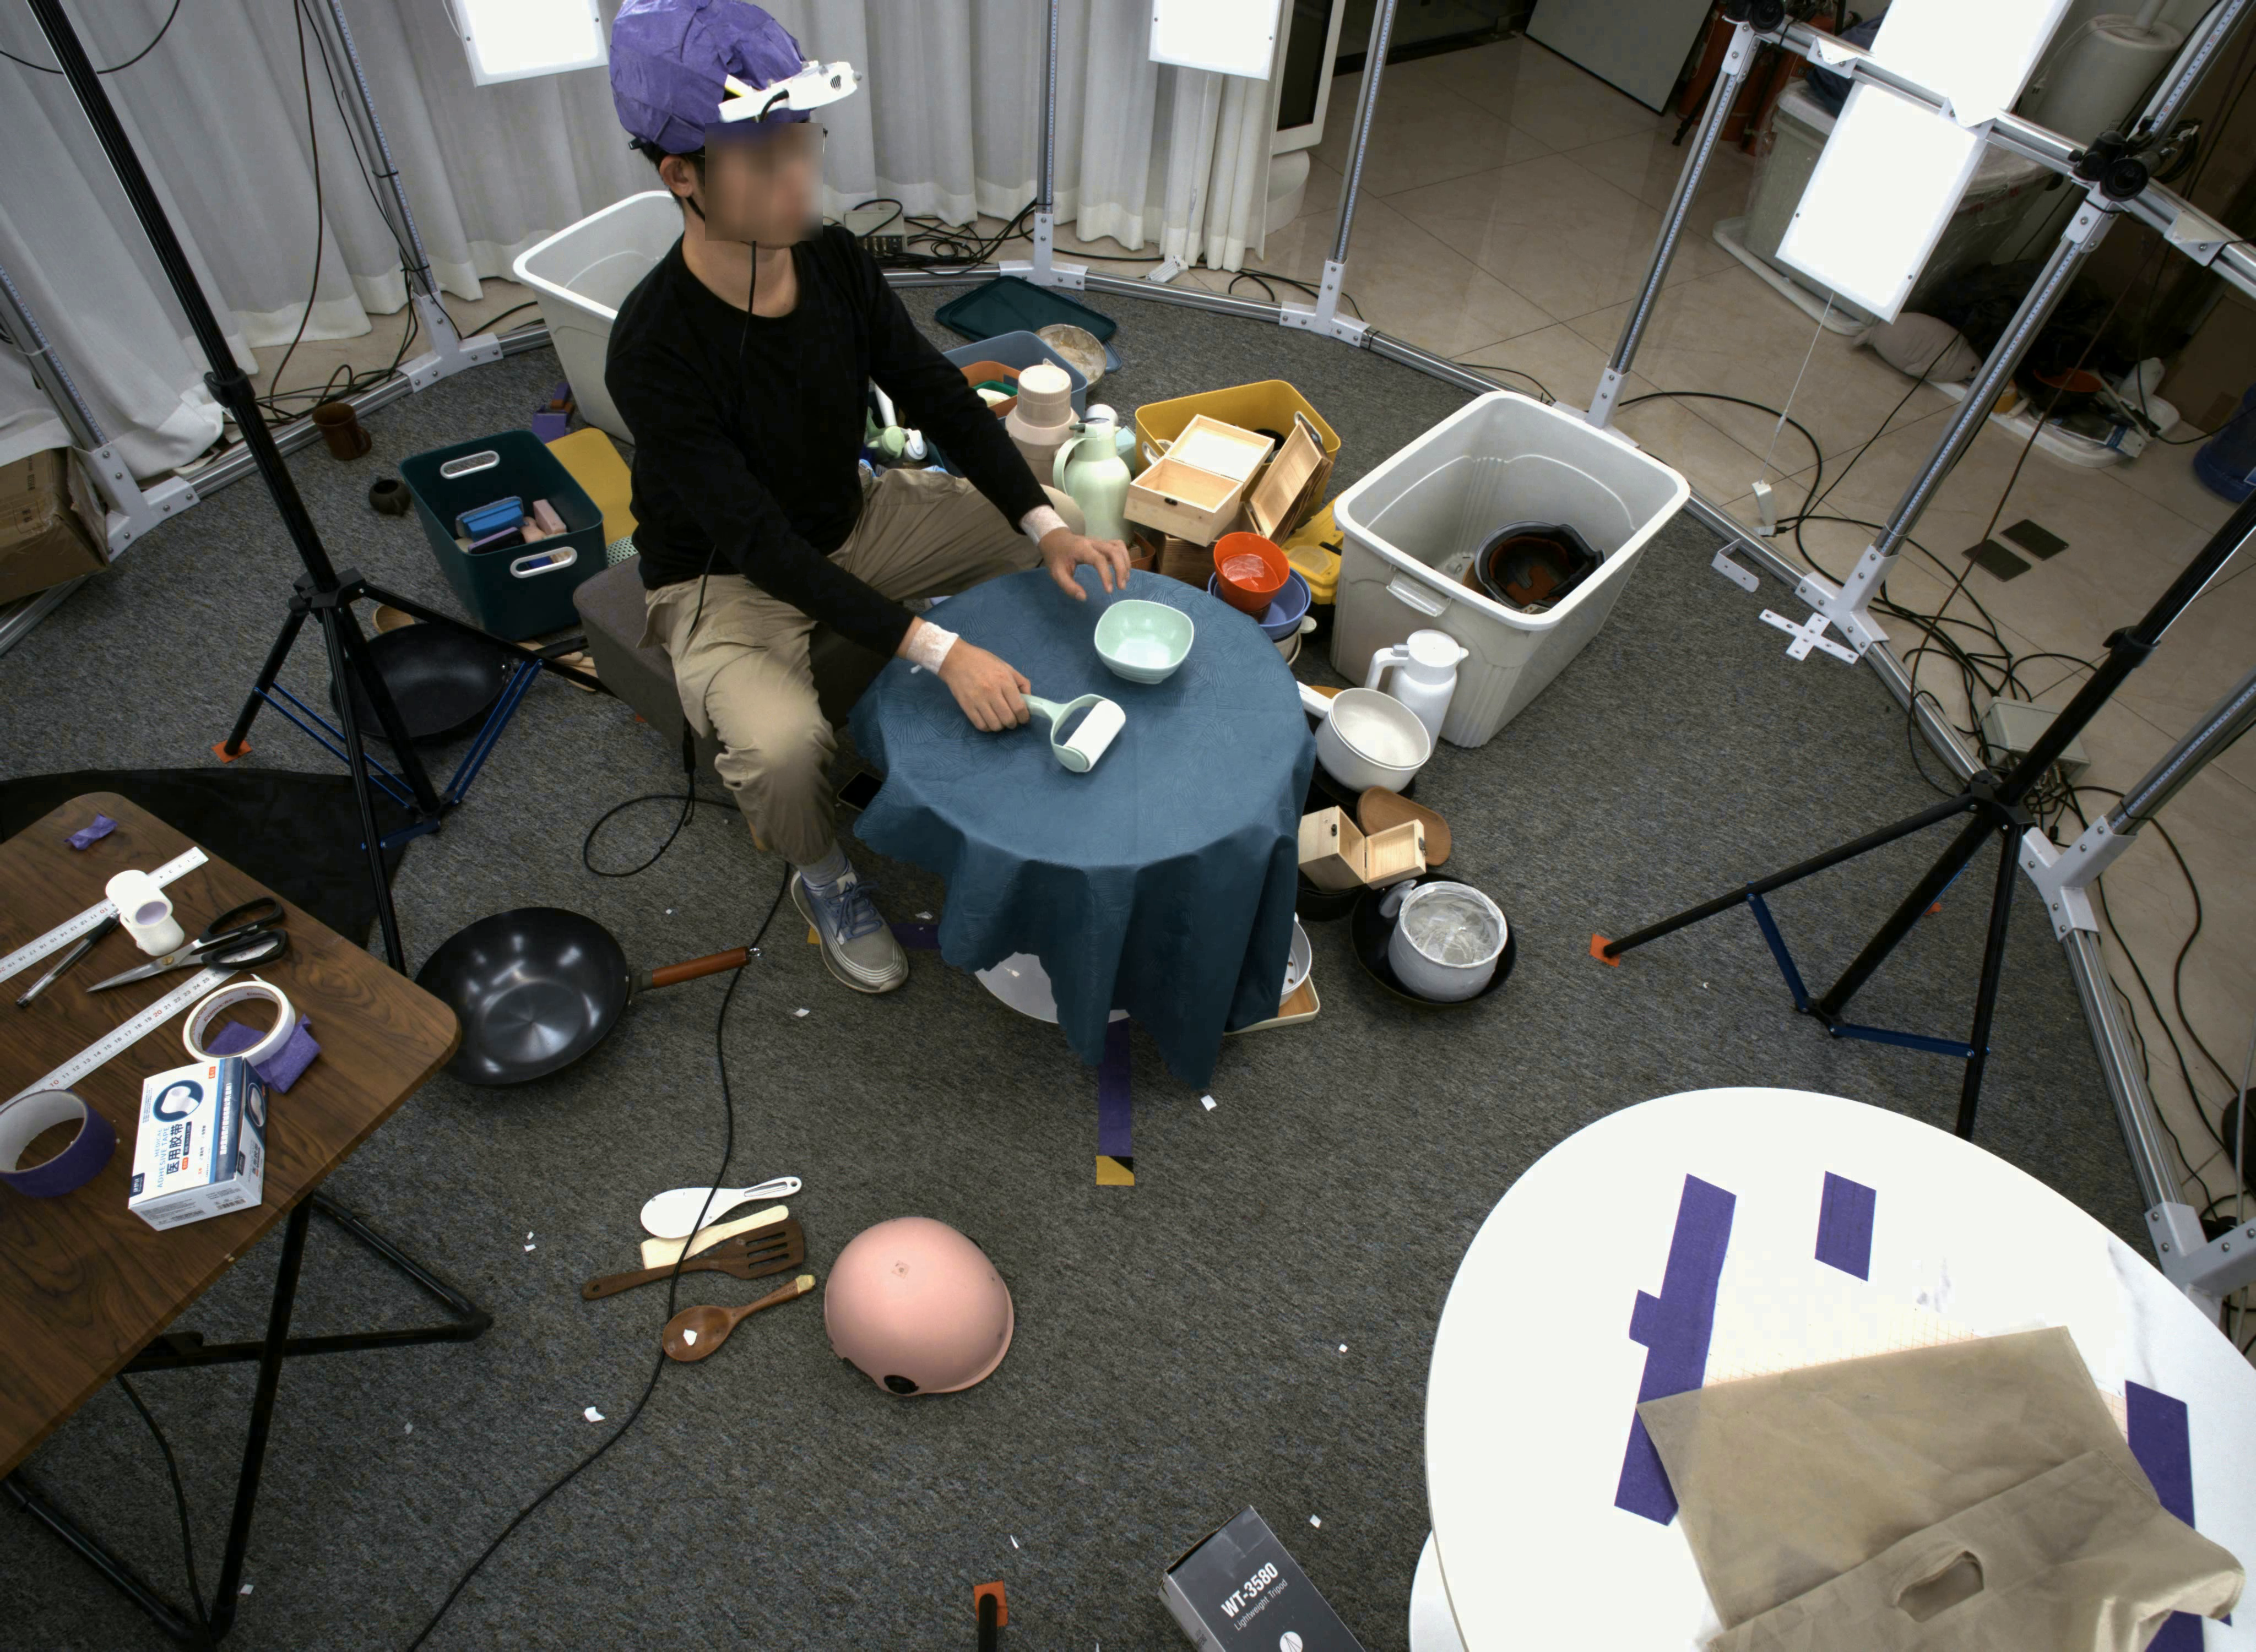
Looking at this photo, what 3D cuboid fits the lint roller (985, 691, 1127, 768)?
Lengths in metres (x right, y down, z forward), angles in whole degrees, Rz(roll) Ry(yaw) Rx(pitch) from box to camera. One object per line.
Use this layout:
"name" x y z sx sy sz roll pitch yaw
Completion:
"lint roller" -0.109 -0.156 1.769 0.199 0.047 0.118 23 52 17

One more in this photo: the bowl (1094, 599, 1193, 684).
"bowl" 0.021 -0.258 1.859 0.151 0.057 0.155 2 50 -3
